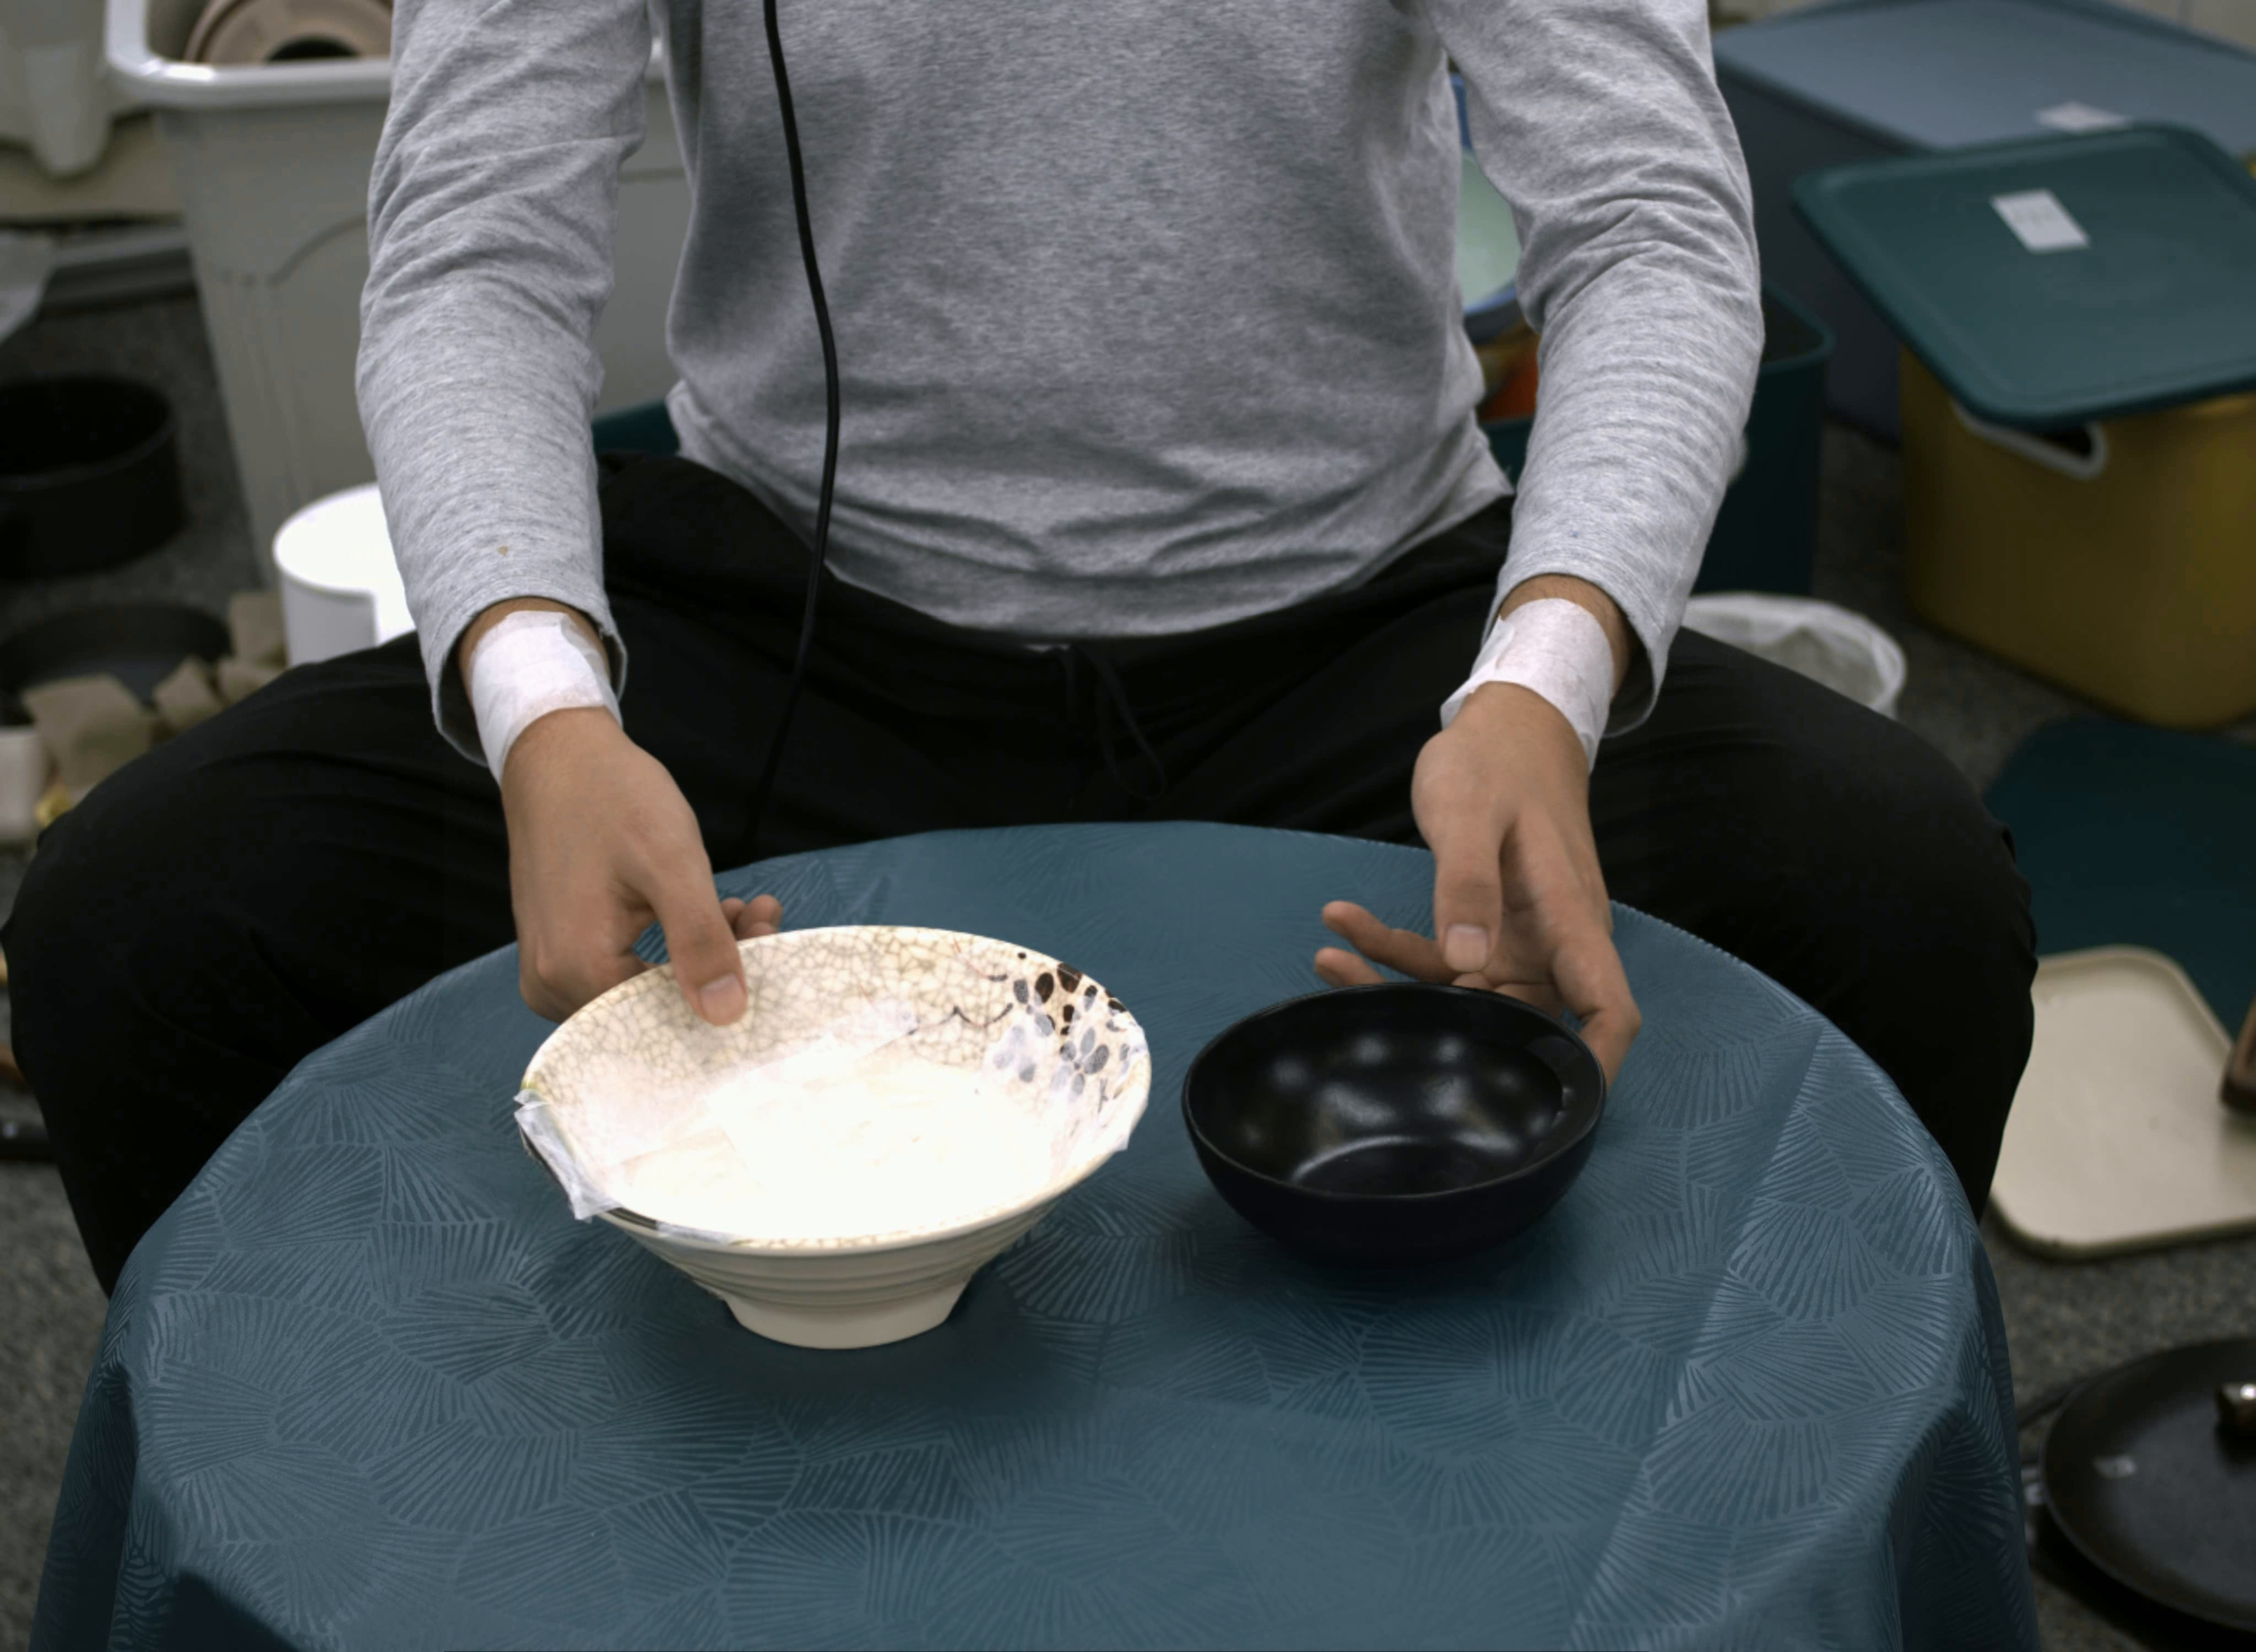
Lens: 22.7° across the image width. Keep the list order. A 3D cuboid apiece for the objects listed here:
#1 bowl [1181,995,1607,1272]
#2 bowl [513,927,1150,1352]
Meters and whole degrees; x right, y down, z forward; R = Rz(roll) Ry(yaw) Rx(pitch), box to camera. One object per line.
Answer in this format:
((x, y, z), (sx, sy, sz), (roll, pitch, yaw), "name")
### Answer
((0.087, 0.107, 1.832), (0.139, 0.049, 0.142), (-1, 24, 1), "bowl")
((-0.093, 0.113, 1.802), (0.203, 0.077, 0.207), (-1, 26, 1), "bowl")
